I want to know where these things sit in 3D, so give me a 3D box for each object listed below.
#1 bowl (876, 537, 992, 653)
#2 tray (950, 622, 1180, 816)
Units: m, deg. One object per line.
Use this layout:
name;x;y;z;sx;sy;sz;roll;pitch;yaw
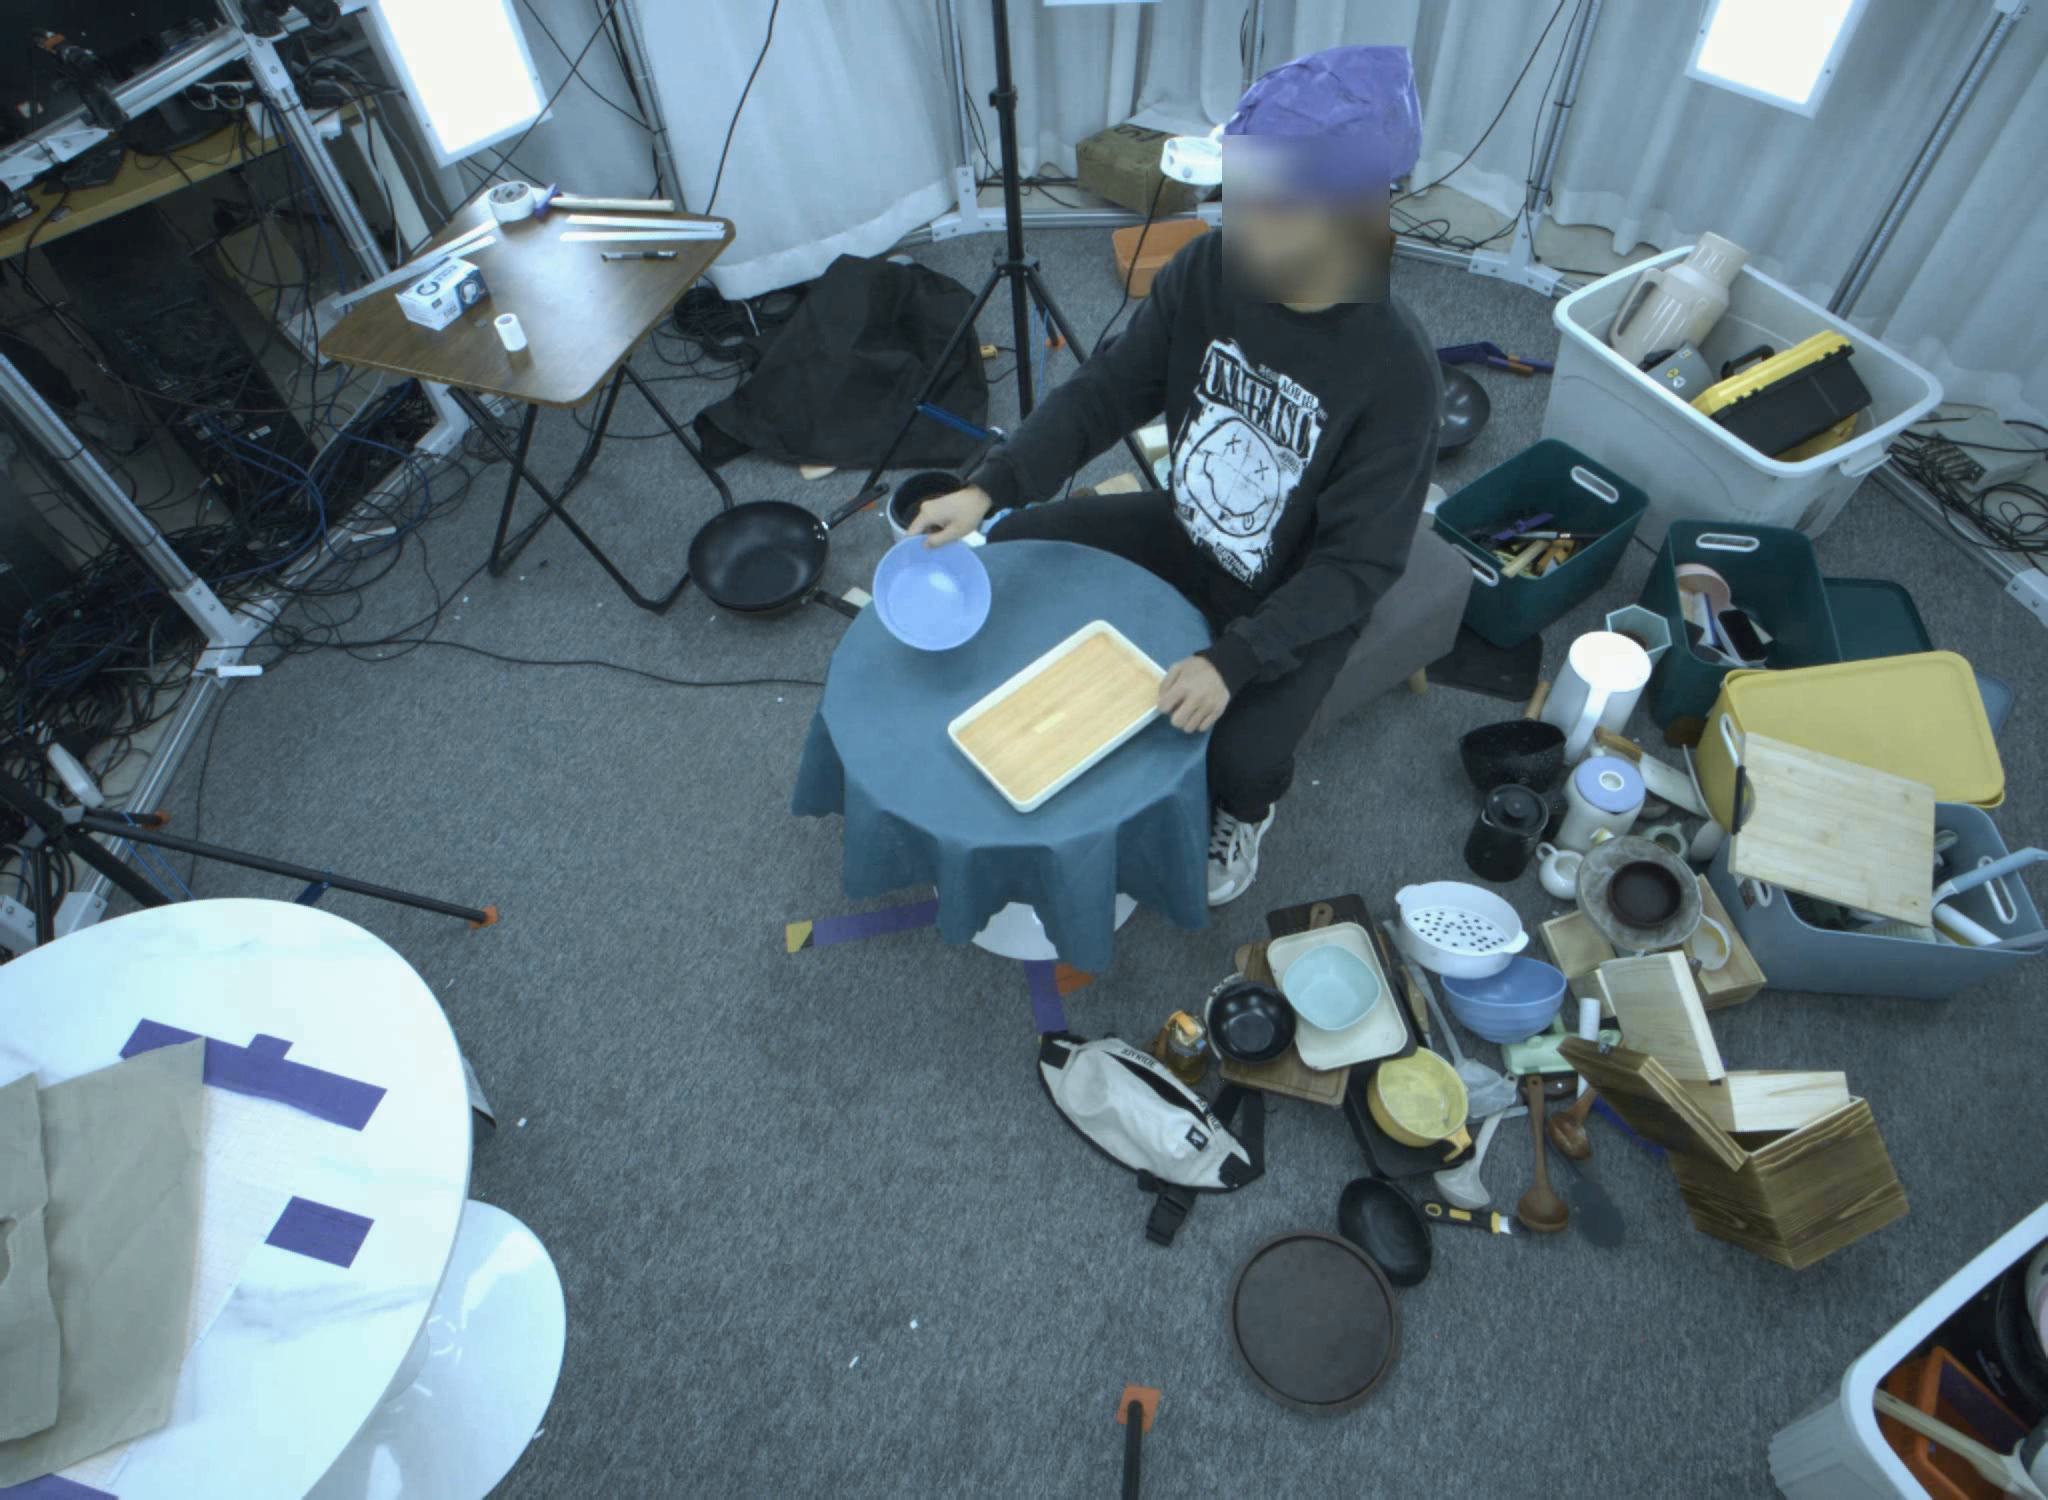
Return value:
bowl;-0.141;-0.228;1.843;0.178;0.069;0.175;1;86;-16
tray;0.060;-0.050;1.795;0.302;0.028;0.188;-37;60;-15
